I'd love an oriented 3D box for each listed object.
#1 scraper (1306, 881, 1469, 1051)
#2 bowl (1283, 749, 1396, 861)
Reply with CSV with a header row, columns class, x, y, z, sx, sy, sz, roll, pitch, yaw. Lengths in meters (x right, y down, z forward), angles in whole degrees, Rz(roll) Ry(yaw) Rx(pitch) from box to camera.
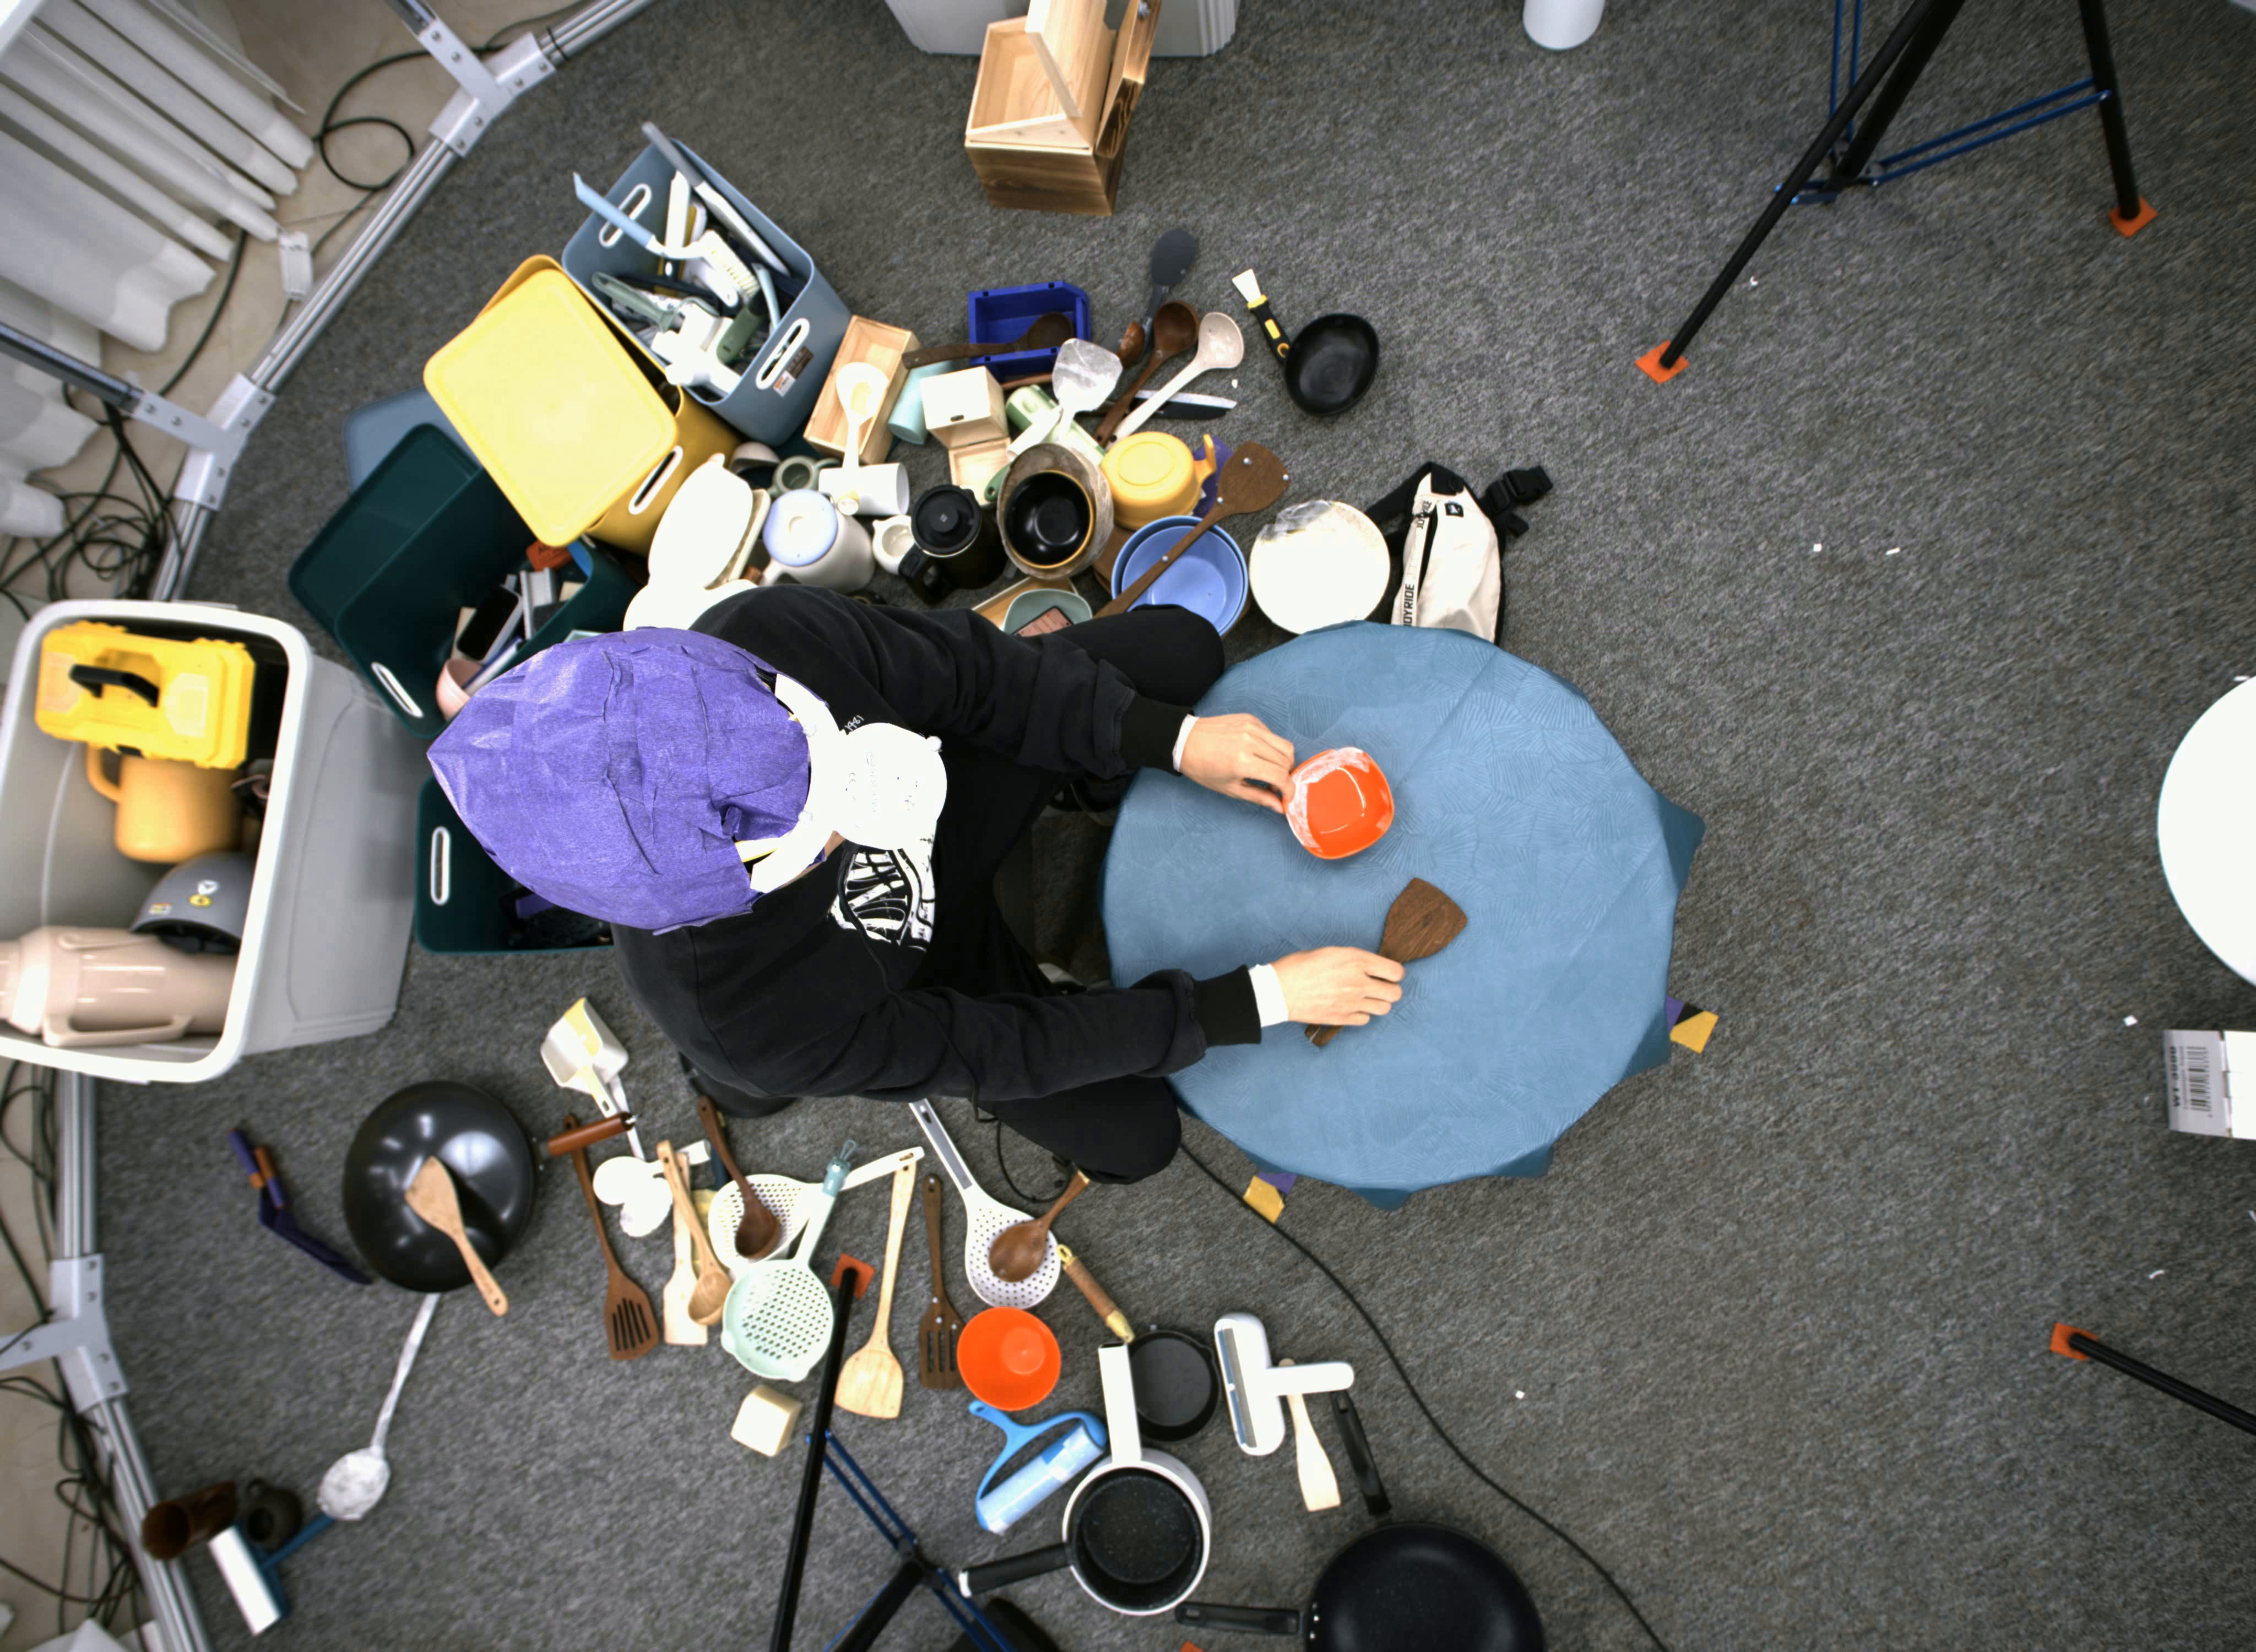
class,x,y,z,sx,sy,sz,roll,pitch,yaw
scraper,0.264,0.150,1.443,0.075,0.011,0.210,43,85,13
bowl,0.219,-0.025,1.448,0.119,0.051,0.120,0,99,0
